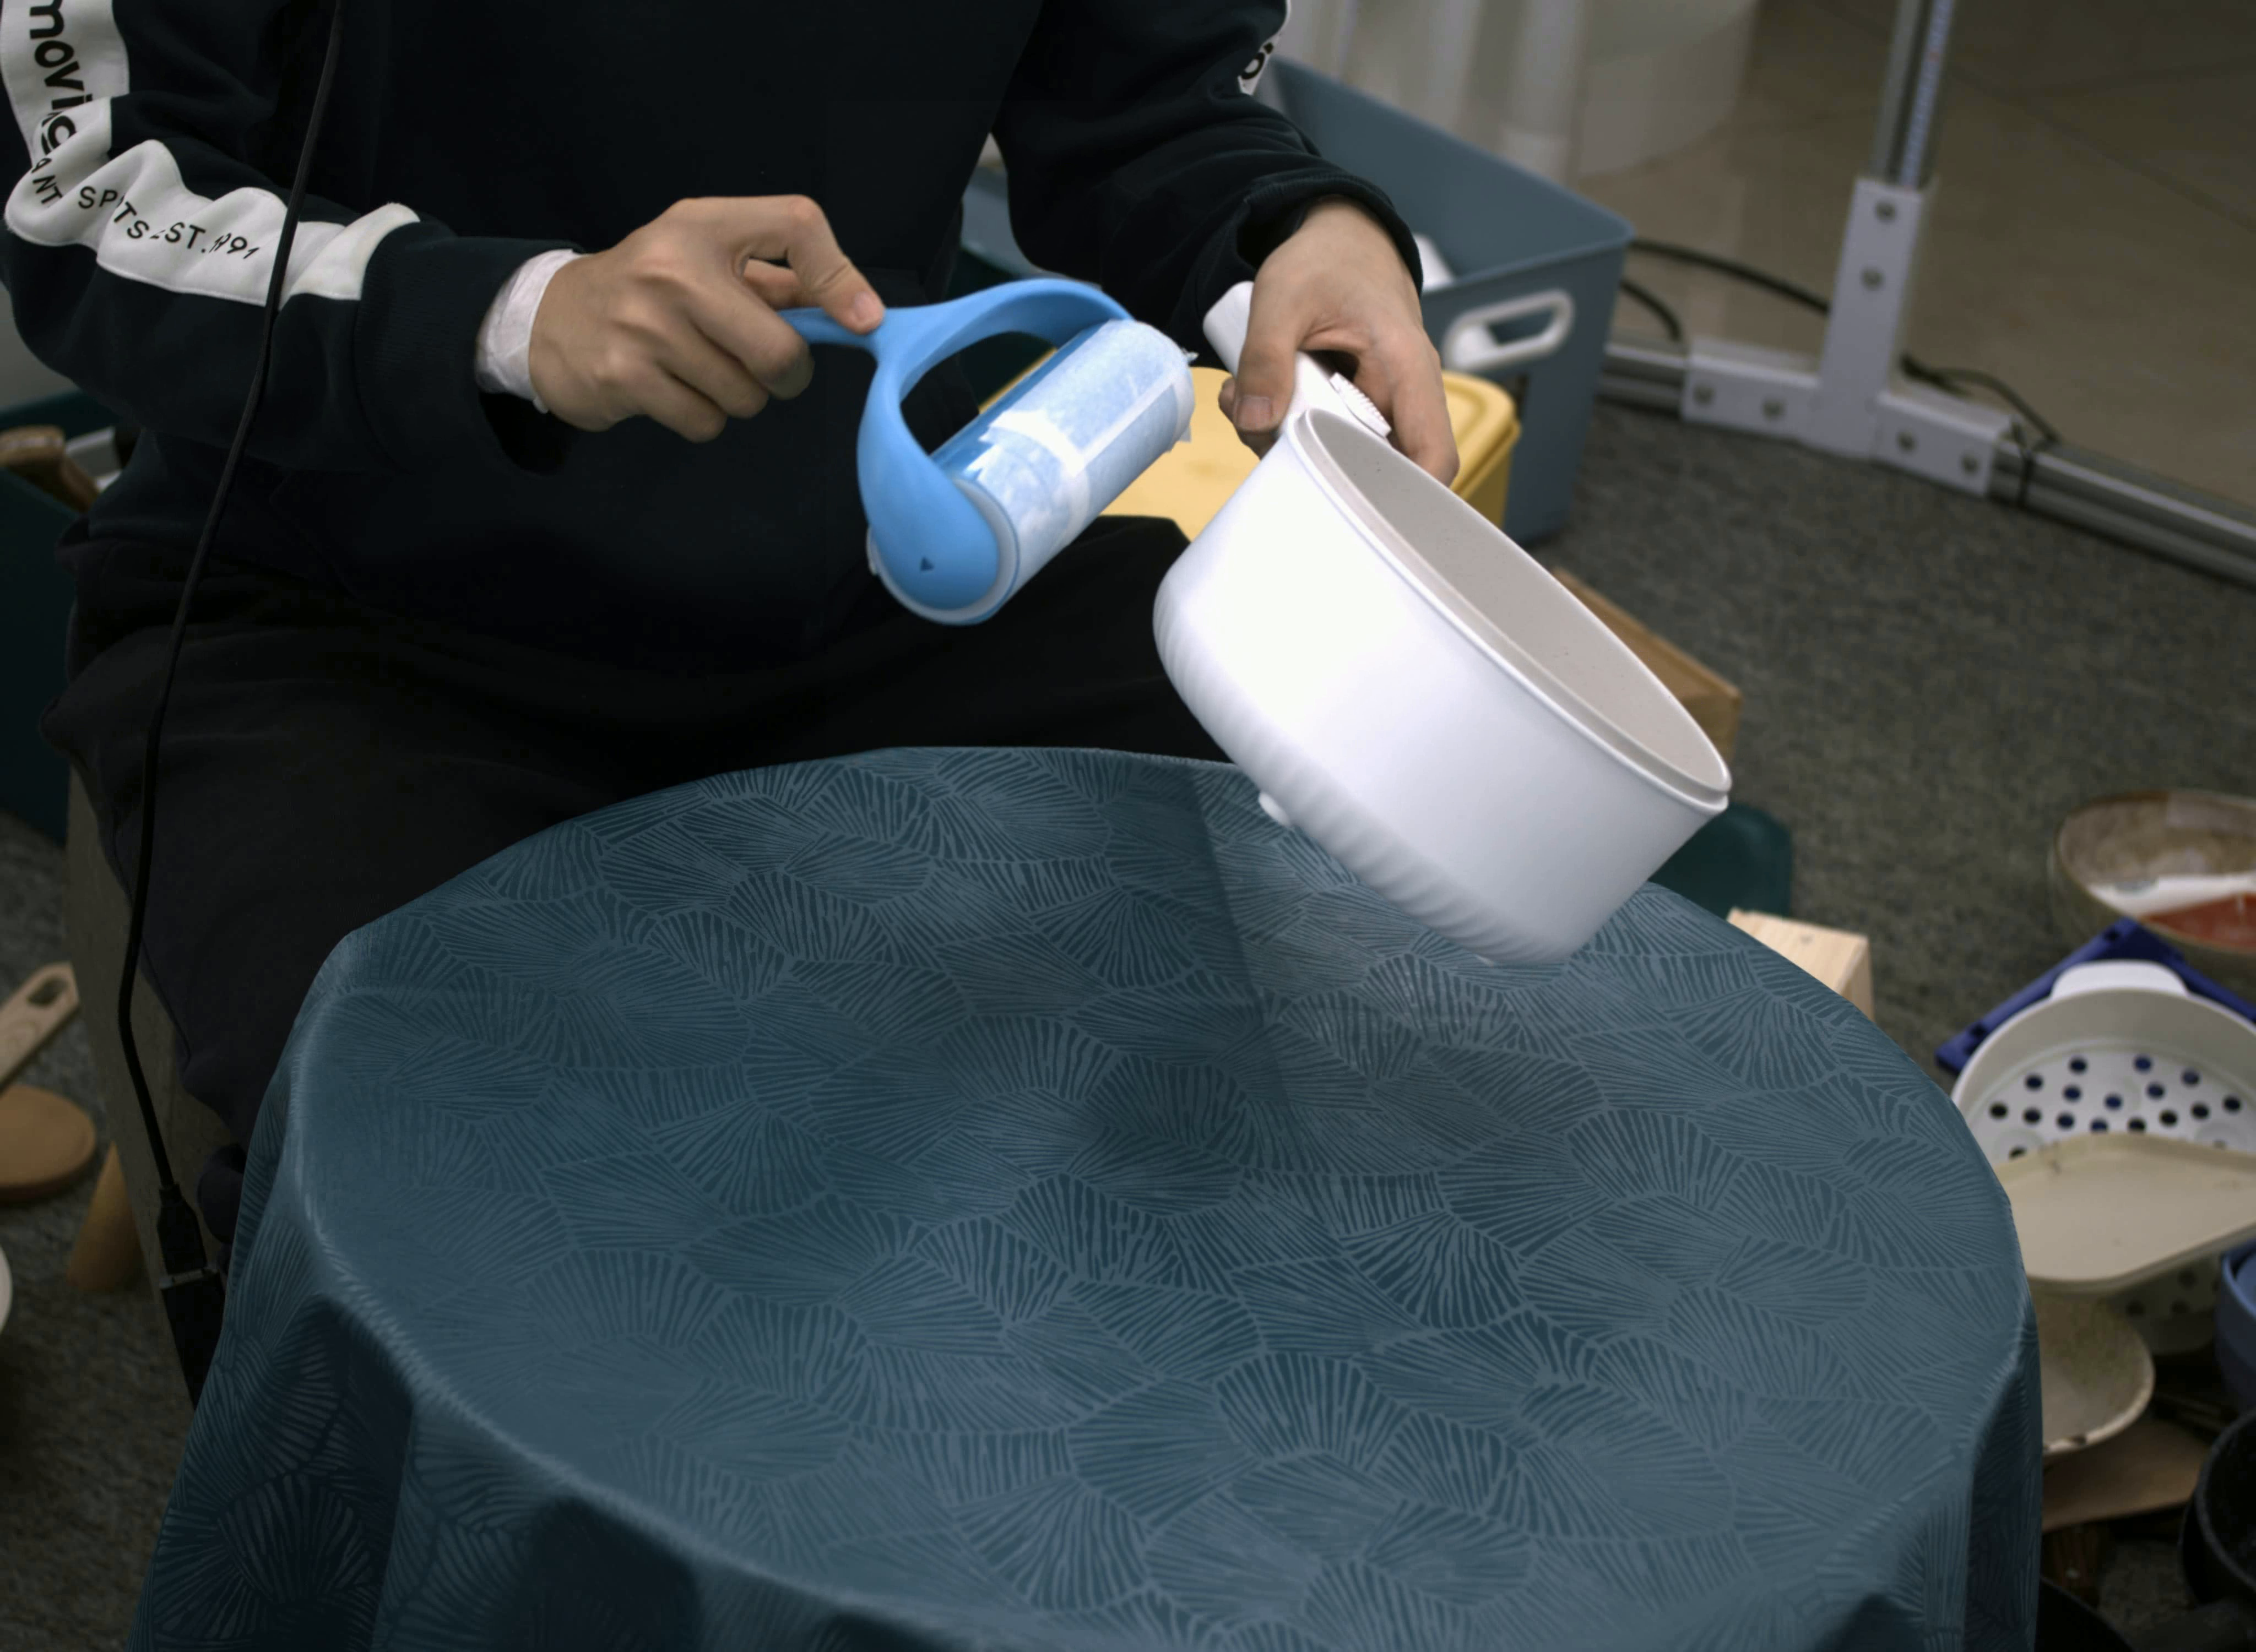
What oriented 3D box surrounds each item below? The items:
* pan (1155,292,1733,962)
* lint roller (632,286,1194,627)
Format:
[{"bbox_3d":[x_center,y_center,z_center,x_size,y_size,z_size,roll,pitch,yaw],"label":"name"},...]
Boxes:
[{"bbox_3d":[0.080,-0.080,1.894,0.199,0.102,0.358,35,13,-31],"label":"pan"},{"bbox_3d":[-0.085,-0.144,1.849,0.180,0.068,0.229,19,26,9],"label":"lint roller"}]
